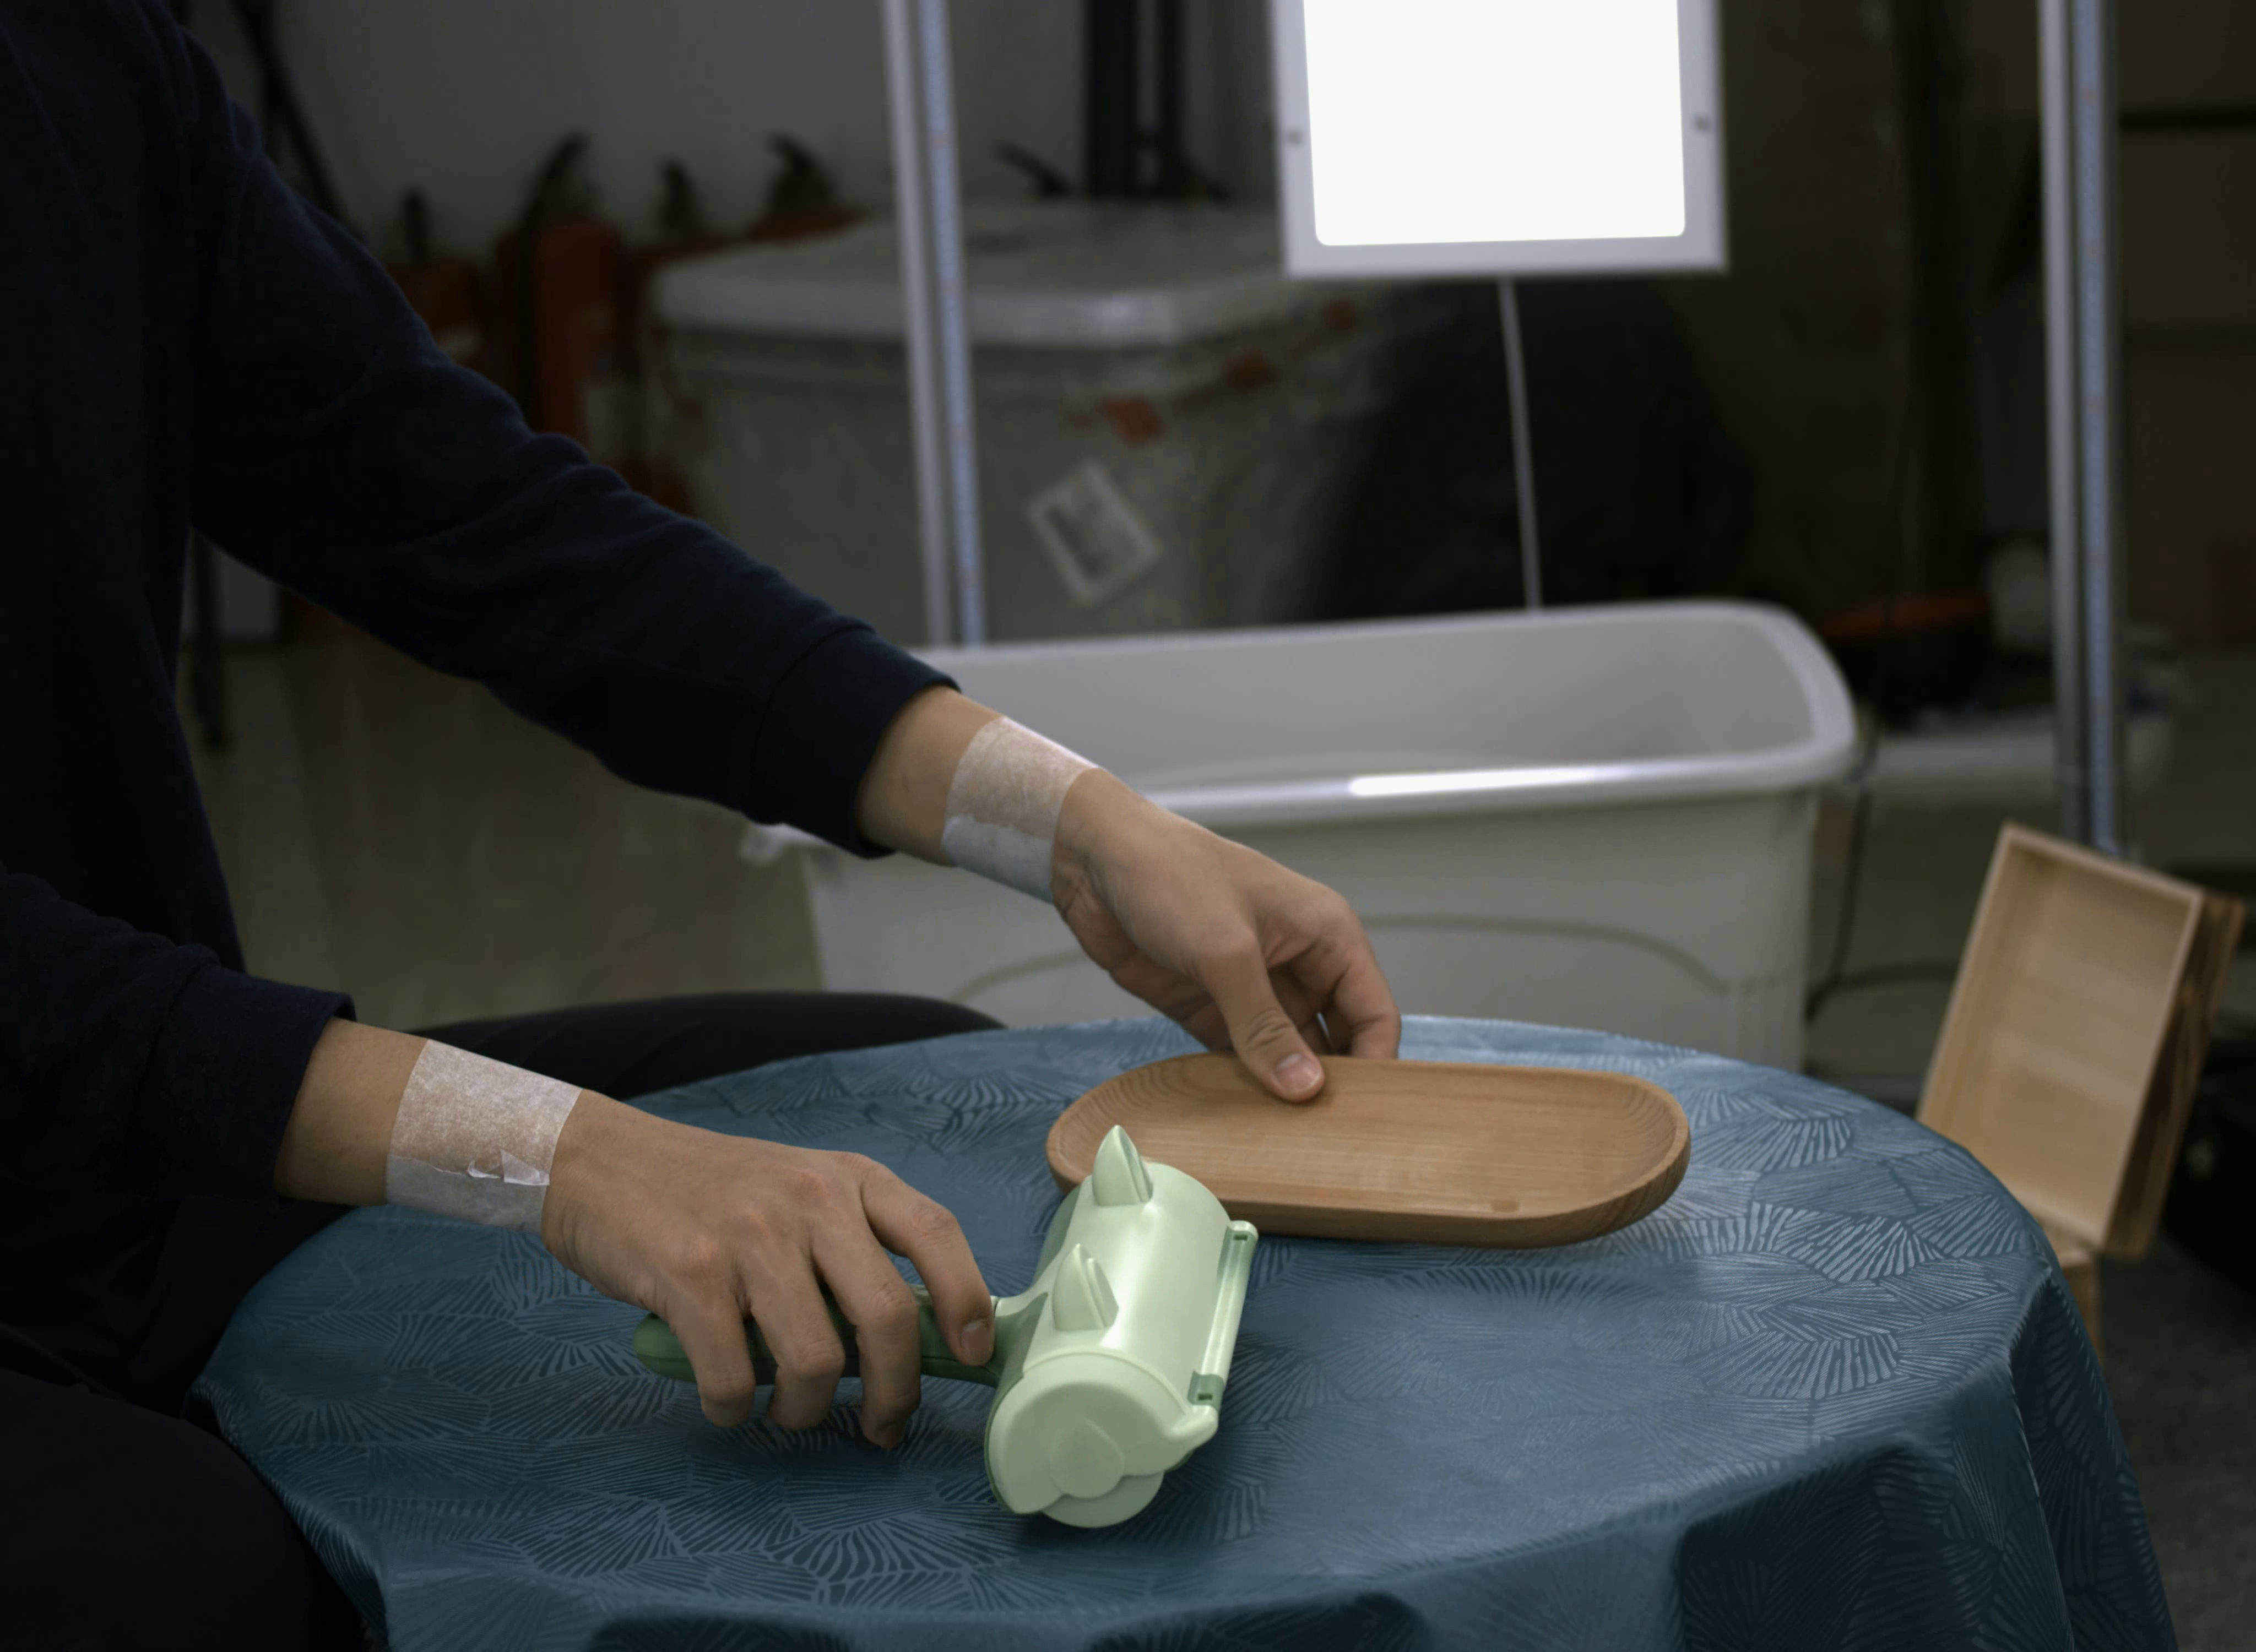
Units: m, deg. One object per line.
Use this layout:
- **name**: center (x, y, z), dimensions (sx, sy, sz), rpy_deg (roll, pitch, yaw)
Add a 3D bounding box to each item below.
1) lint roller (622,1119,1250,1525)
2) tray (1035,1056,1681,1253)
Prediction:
- **lint roller**: center (-0.058, 0.135, 1.663), dimensions (0.183, 0.083, 0.197), rpy_deg (11, 15, 3)
- **tray**: center (0.077, 0.111, 1.863), dimensions (0.235, 0.020, 0.099), rpy_deg (0, 26, 29)
